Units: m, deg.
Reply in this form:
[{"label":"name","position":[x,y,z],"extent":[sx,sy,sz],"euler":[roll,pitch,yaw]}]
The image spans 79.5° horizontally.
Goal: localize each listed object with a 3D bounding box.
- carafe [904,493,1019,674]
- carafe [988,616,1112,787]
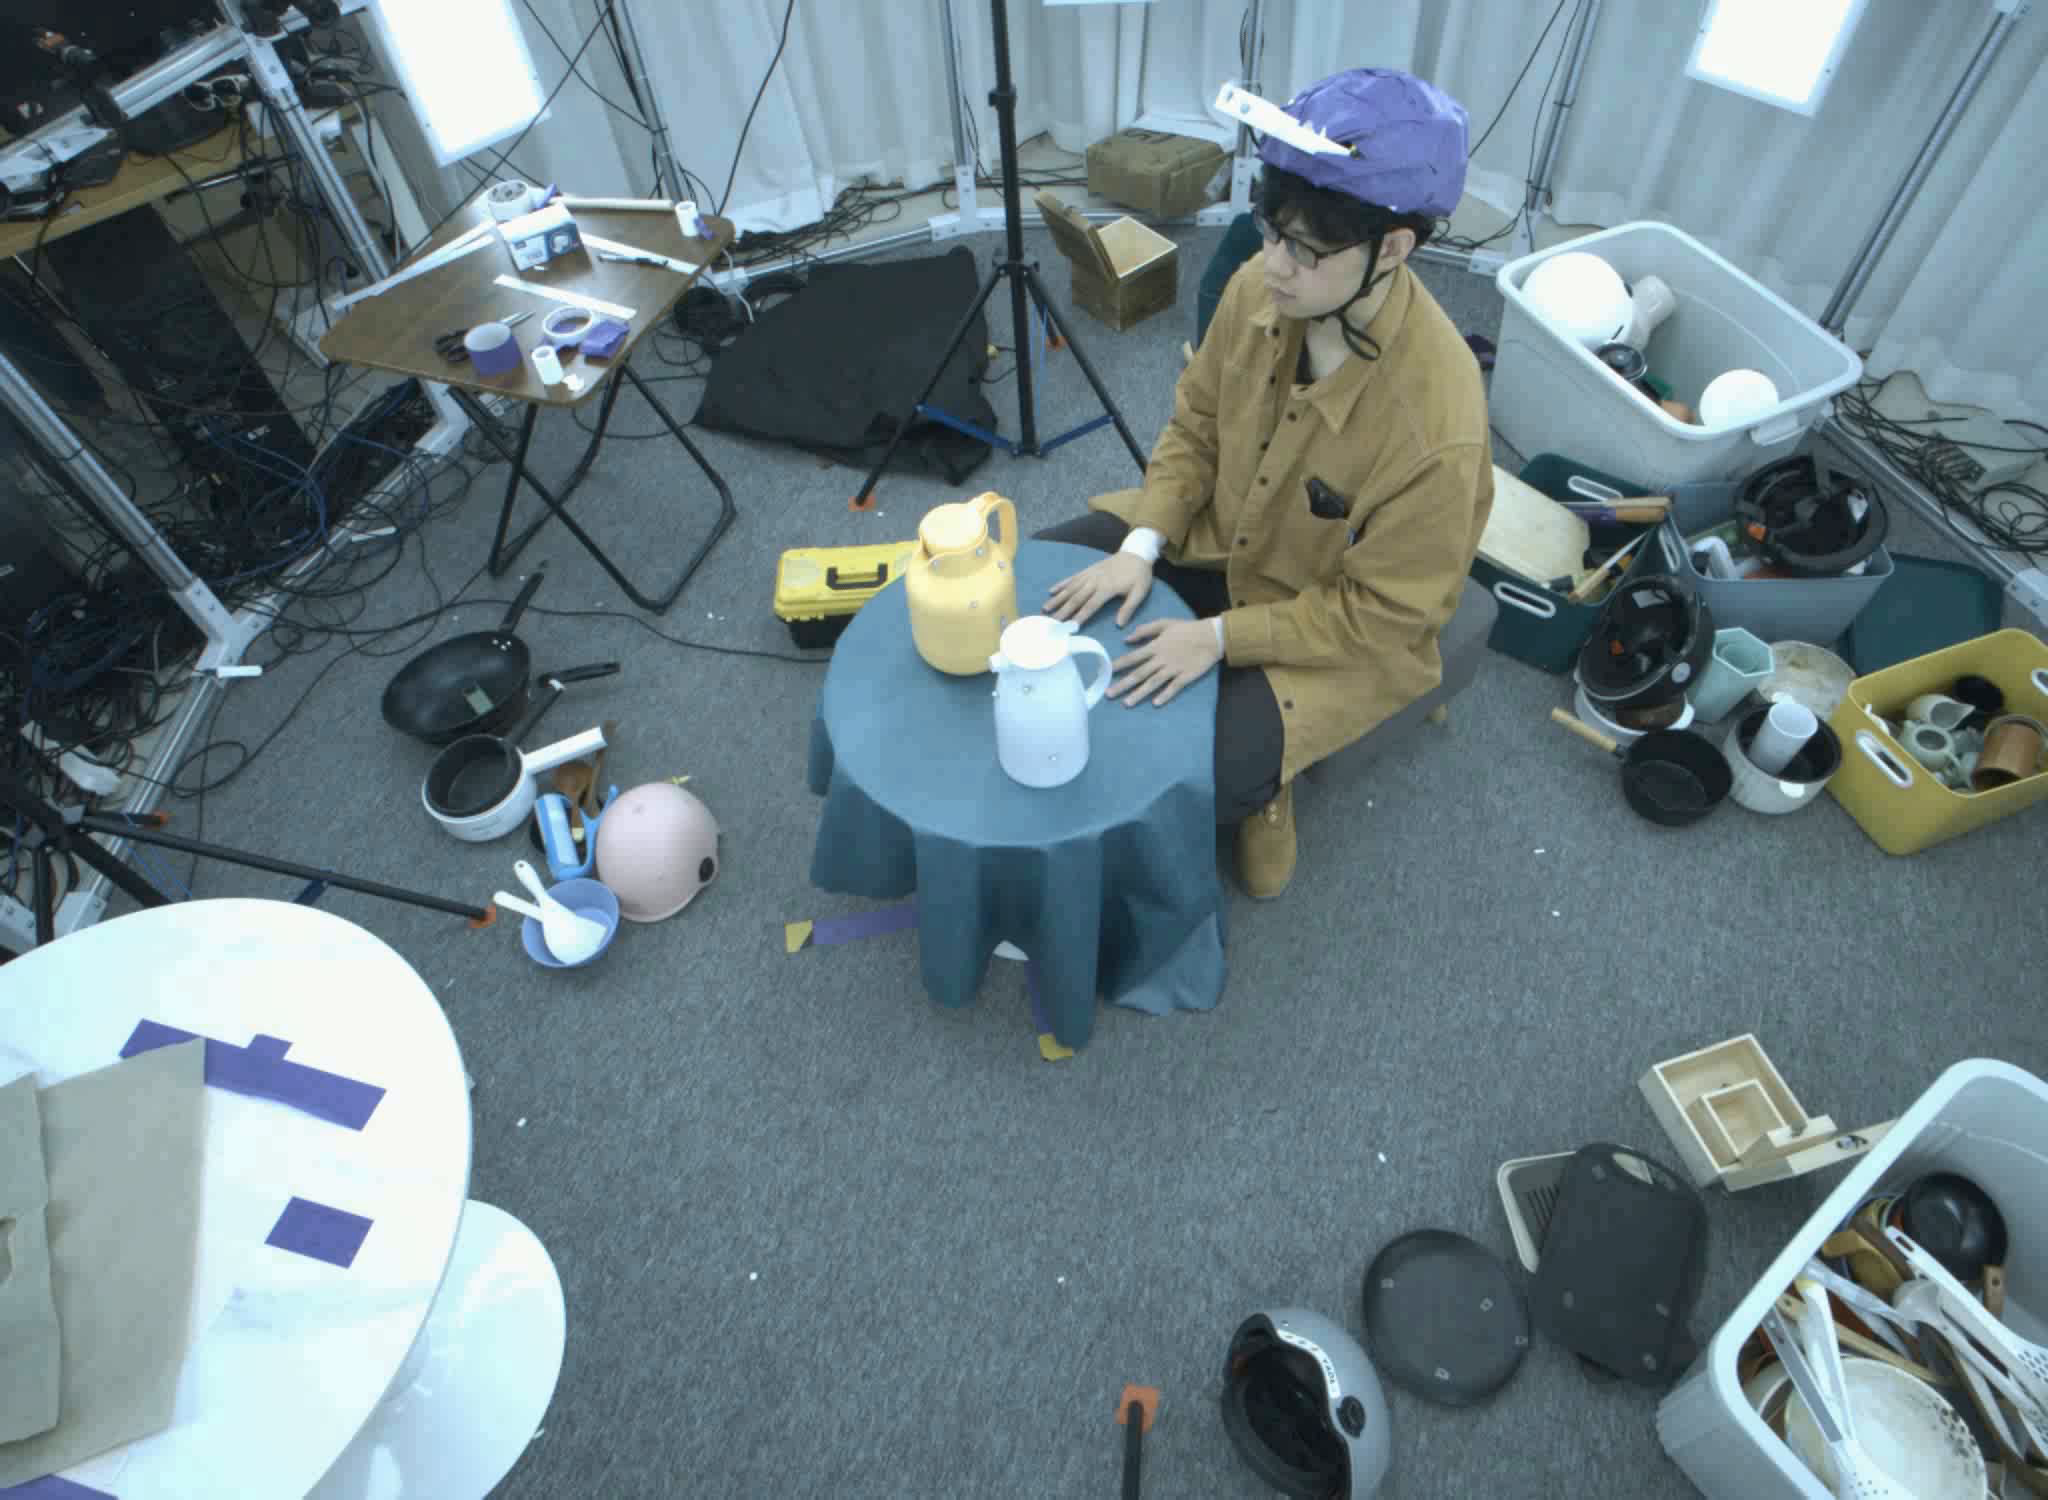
[{"label":"carafe","position":[-0.082,-0.253,1.806],"extent":[0.161,0.263,0.203],"euler":[34,64,22]},{"label":"carafe","position":[0.038,-0.079,1.684],"extent":[0.169,0.251,0.130],"euler":[-18,55,-10]}]
